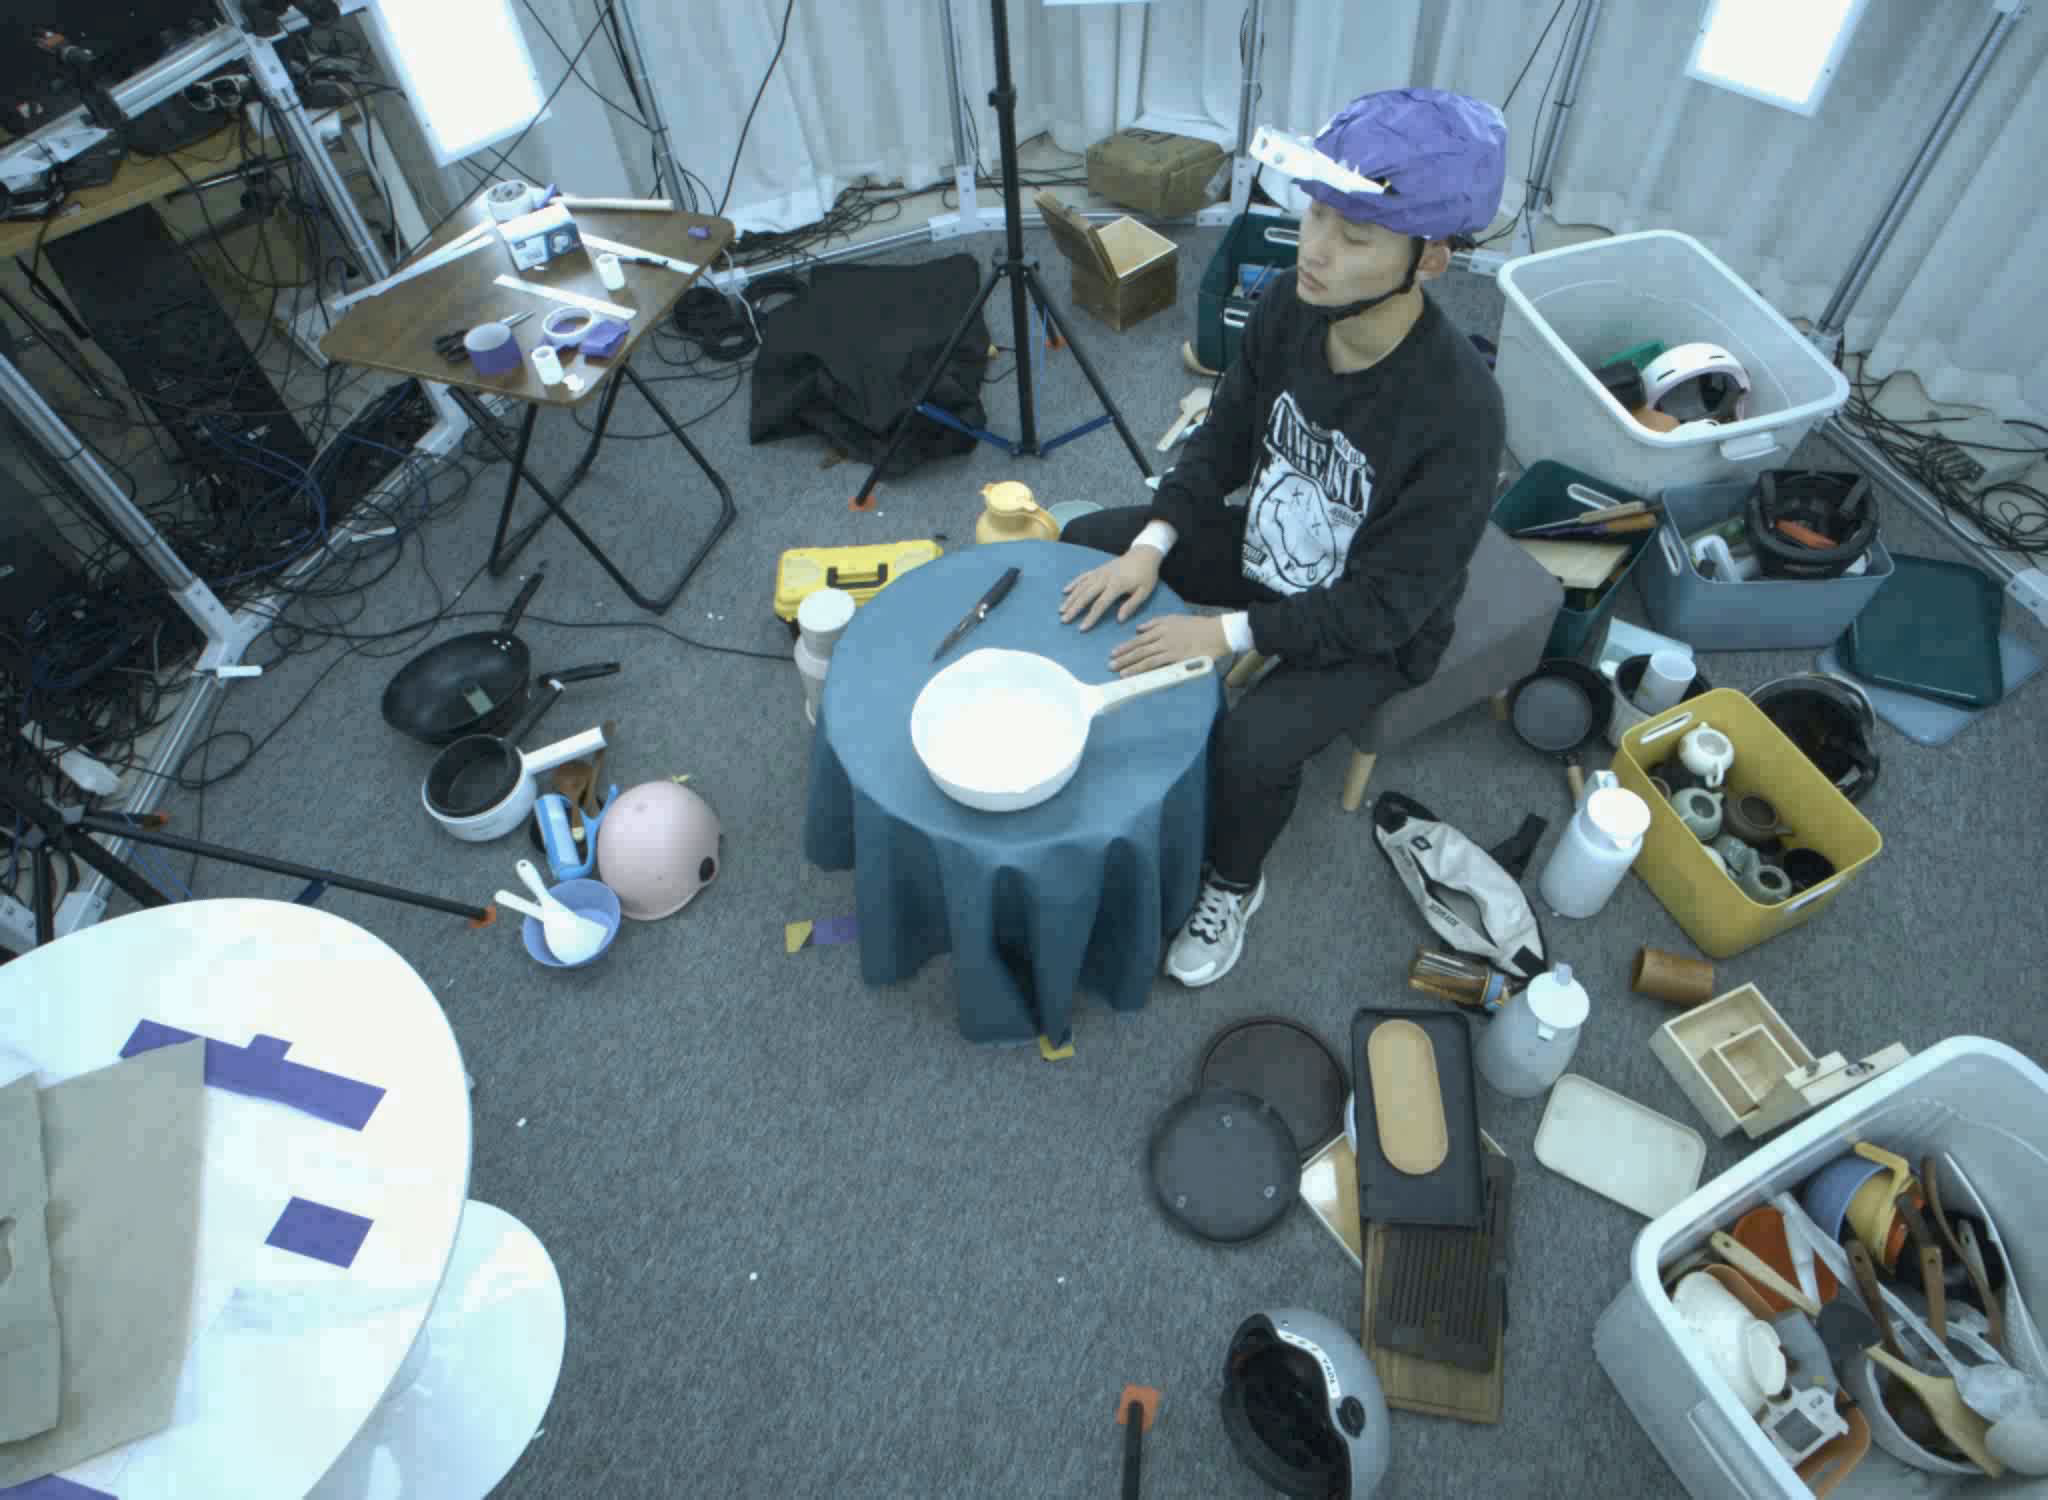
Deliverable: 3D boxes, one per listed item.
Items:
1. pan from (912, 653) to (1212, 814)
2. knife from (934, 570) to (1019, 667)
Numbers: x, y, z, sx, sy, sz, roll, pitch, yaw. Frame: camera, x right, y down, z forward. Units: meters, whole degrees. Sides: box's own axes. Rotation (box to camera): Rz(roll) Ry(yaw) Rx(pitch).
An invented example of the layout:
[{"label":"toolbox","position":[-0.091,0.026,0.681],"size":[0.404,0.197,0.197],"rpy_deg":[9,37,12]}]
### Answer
[{"label":"pan","position":[0.060,-0.043,1.751],"size":[0.437,0.103,0.259],"rpy_deg":[-13,53,-8]},{"label":"knife","position":[-0.077,-0.209,1.930],"size":[0.026,0.017,0.226],"rpy_deg":[37,63,7]}]
